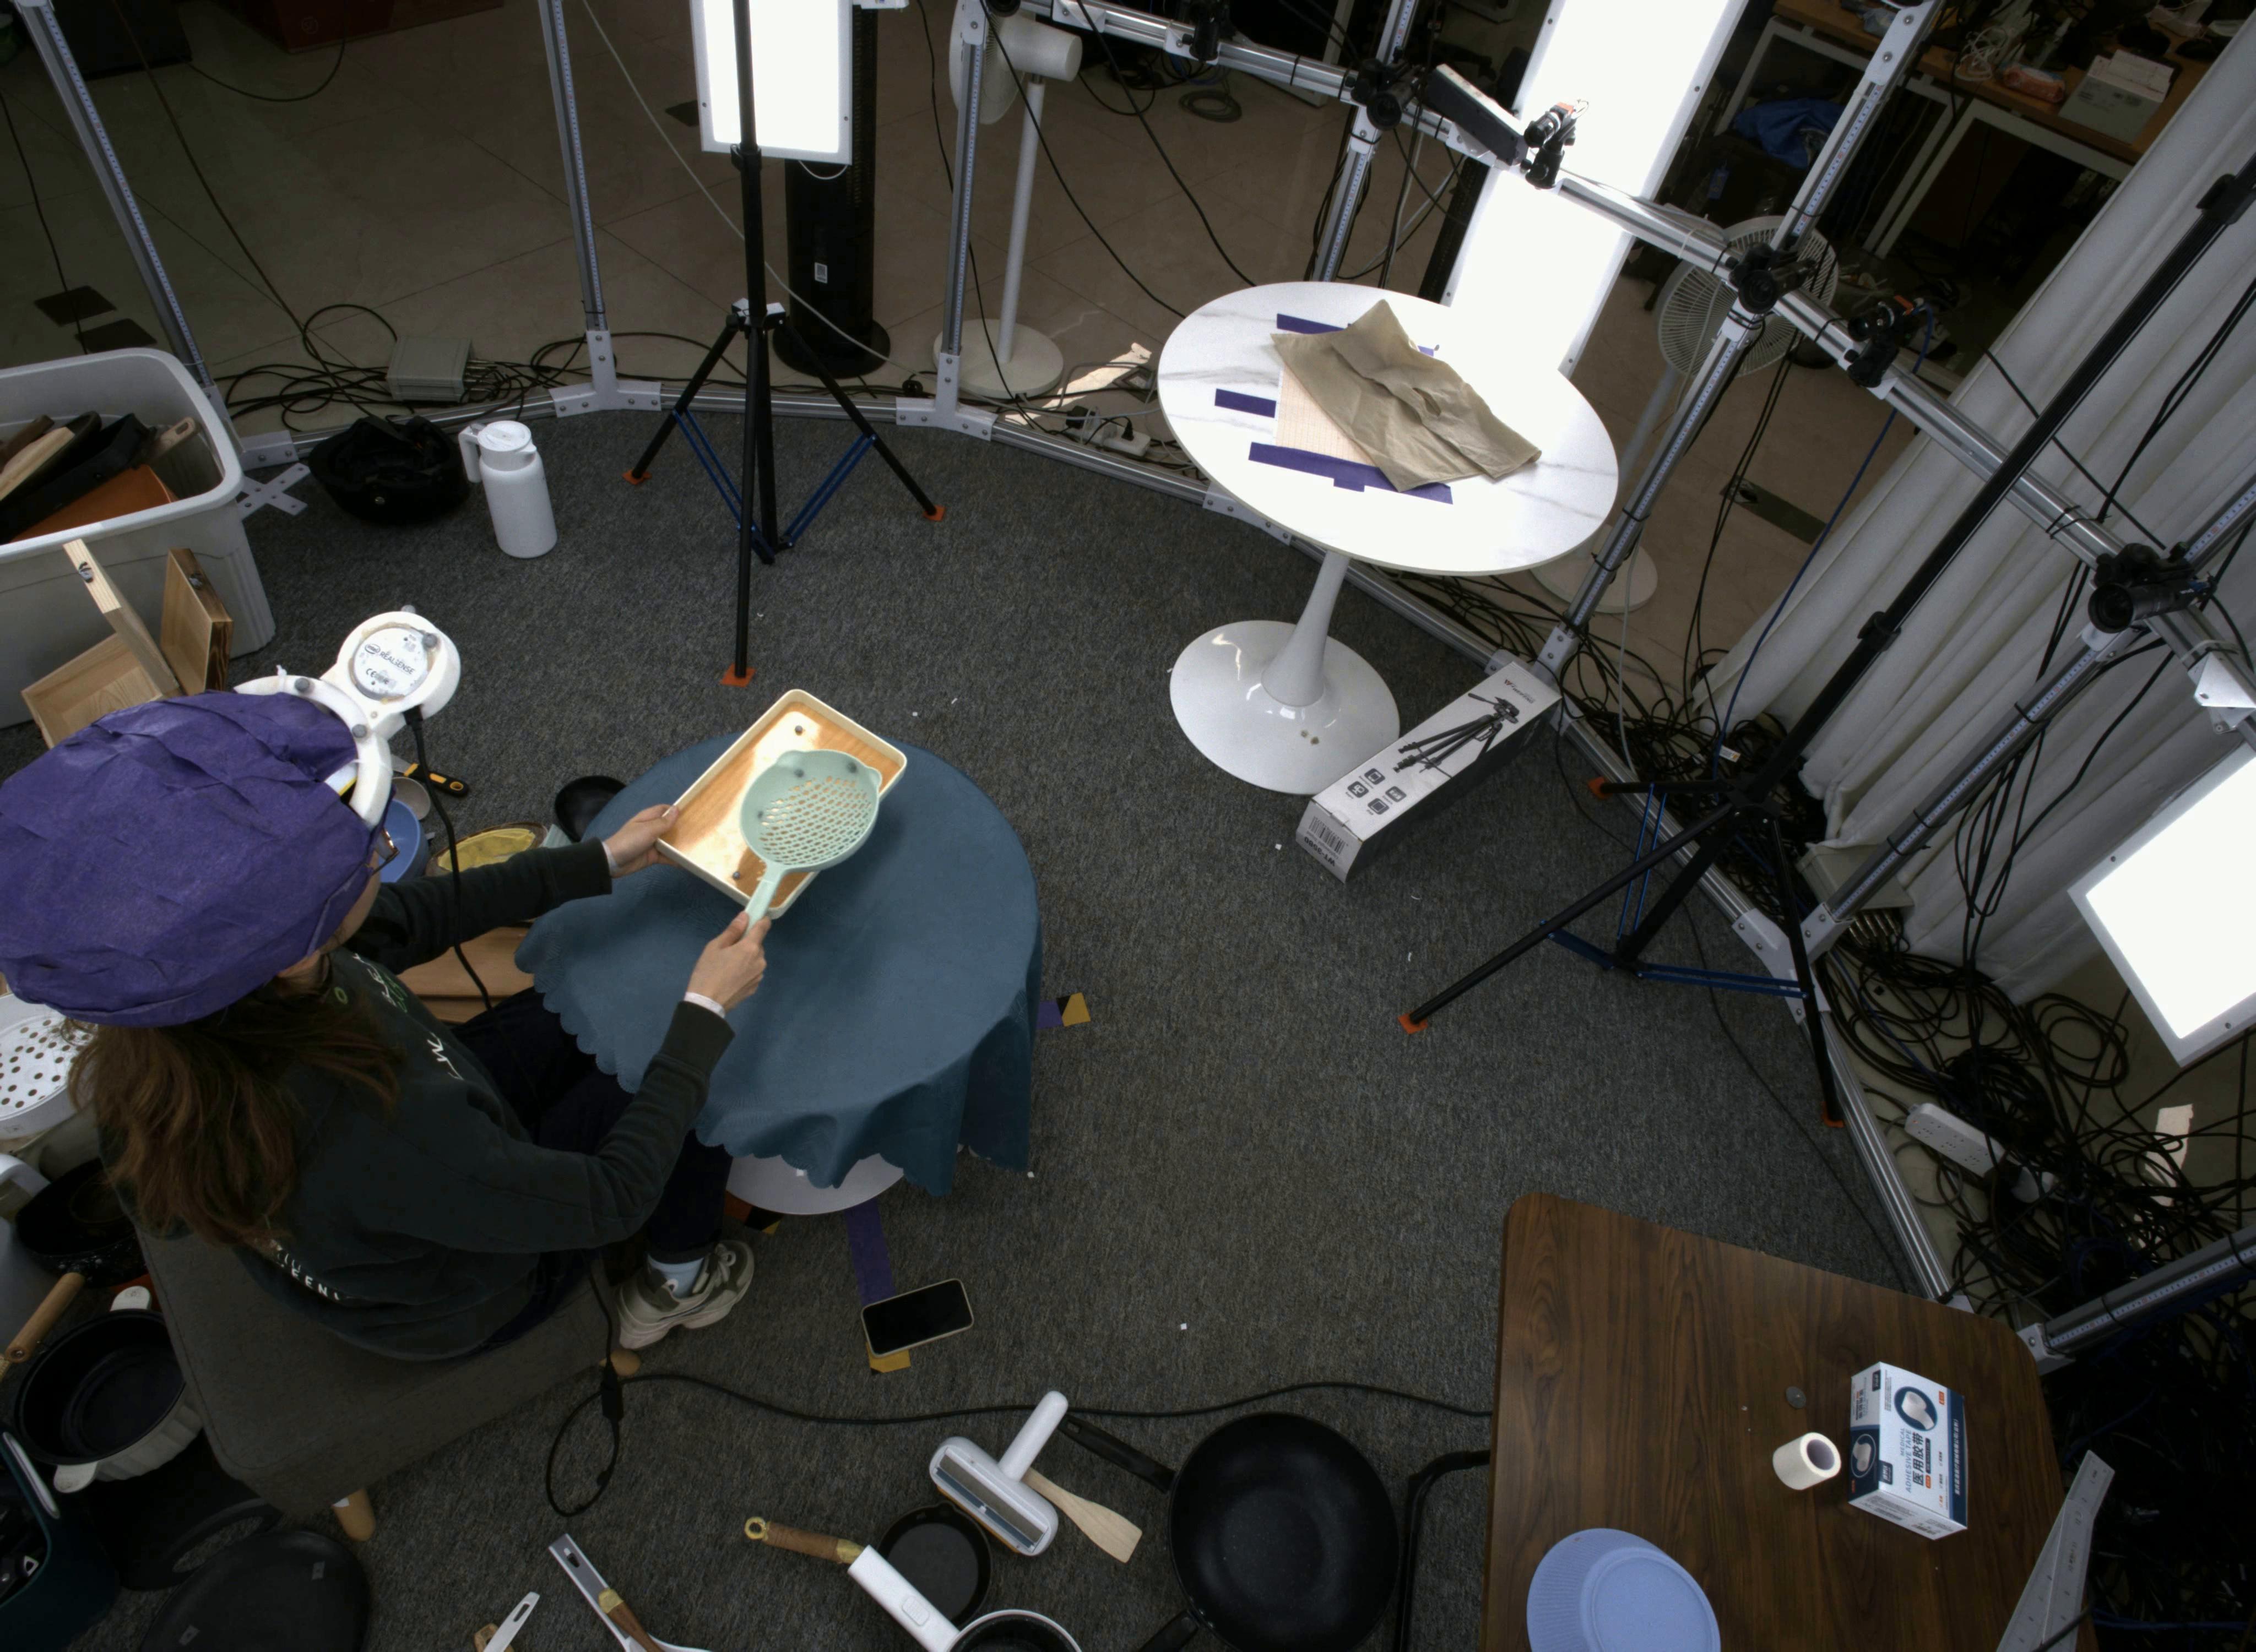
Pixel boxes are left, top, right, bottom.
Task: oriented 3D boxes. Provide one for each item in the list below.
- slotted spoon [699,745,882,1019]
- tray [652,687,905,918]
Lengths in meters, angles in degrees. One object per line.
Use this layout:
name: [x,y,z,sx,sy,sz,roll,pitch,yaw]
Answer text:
slotted spoon: [-0.408,0.057,1.498,0.165,0.078,0.356,14,51,13]
tray: [-0.437,-0.037,1.638,0.190,0.028,0.299,33,53,2]
